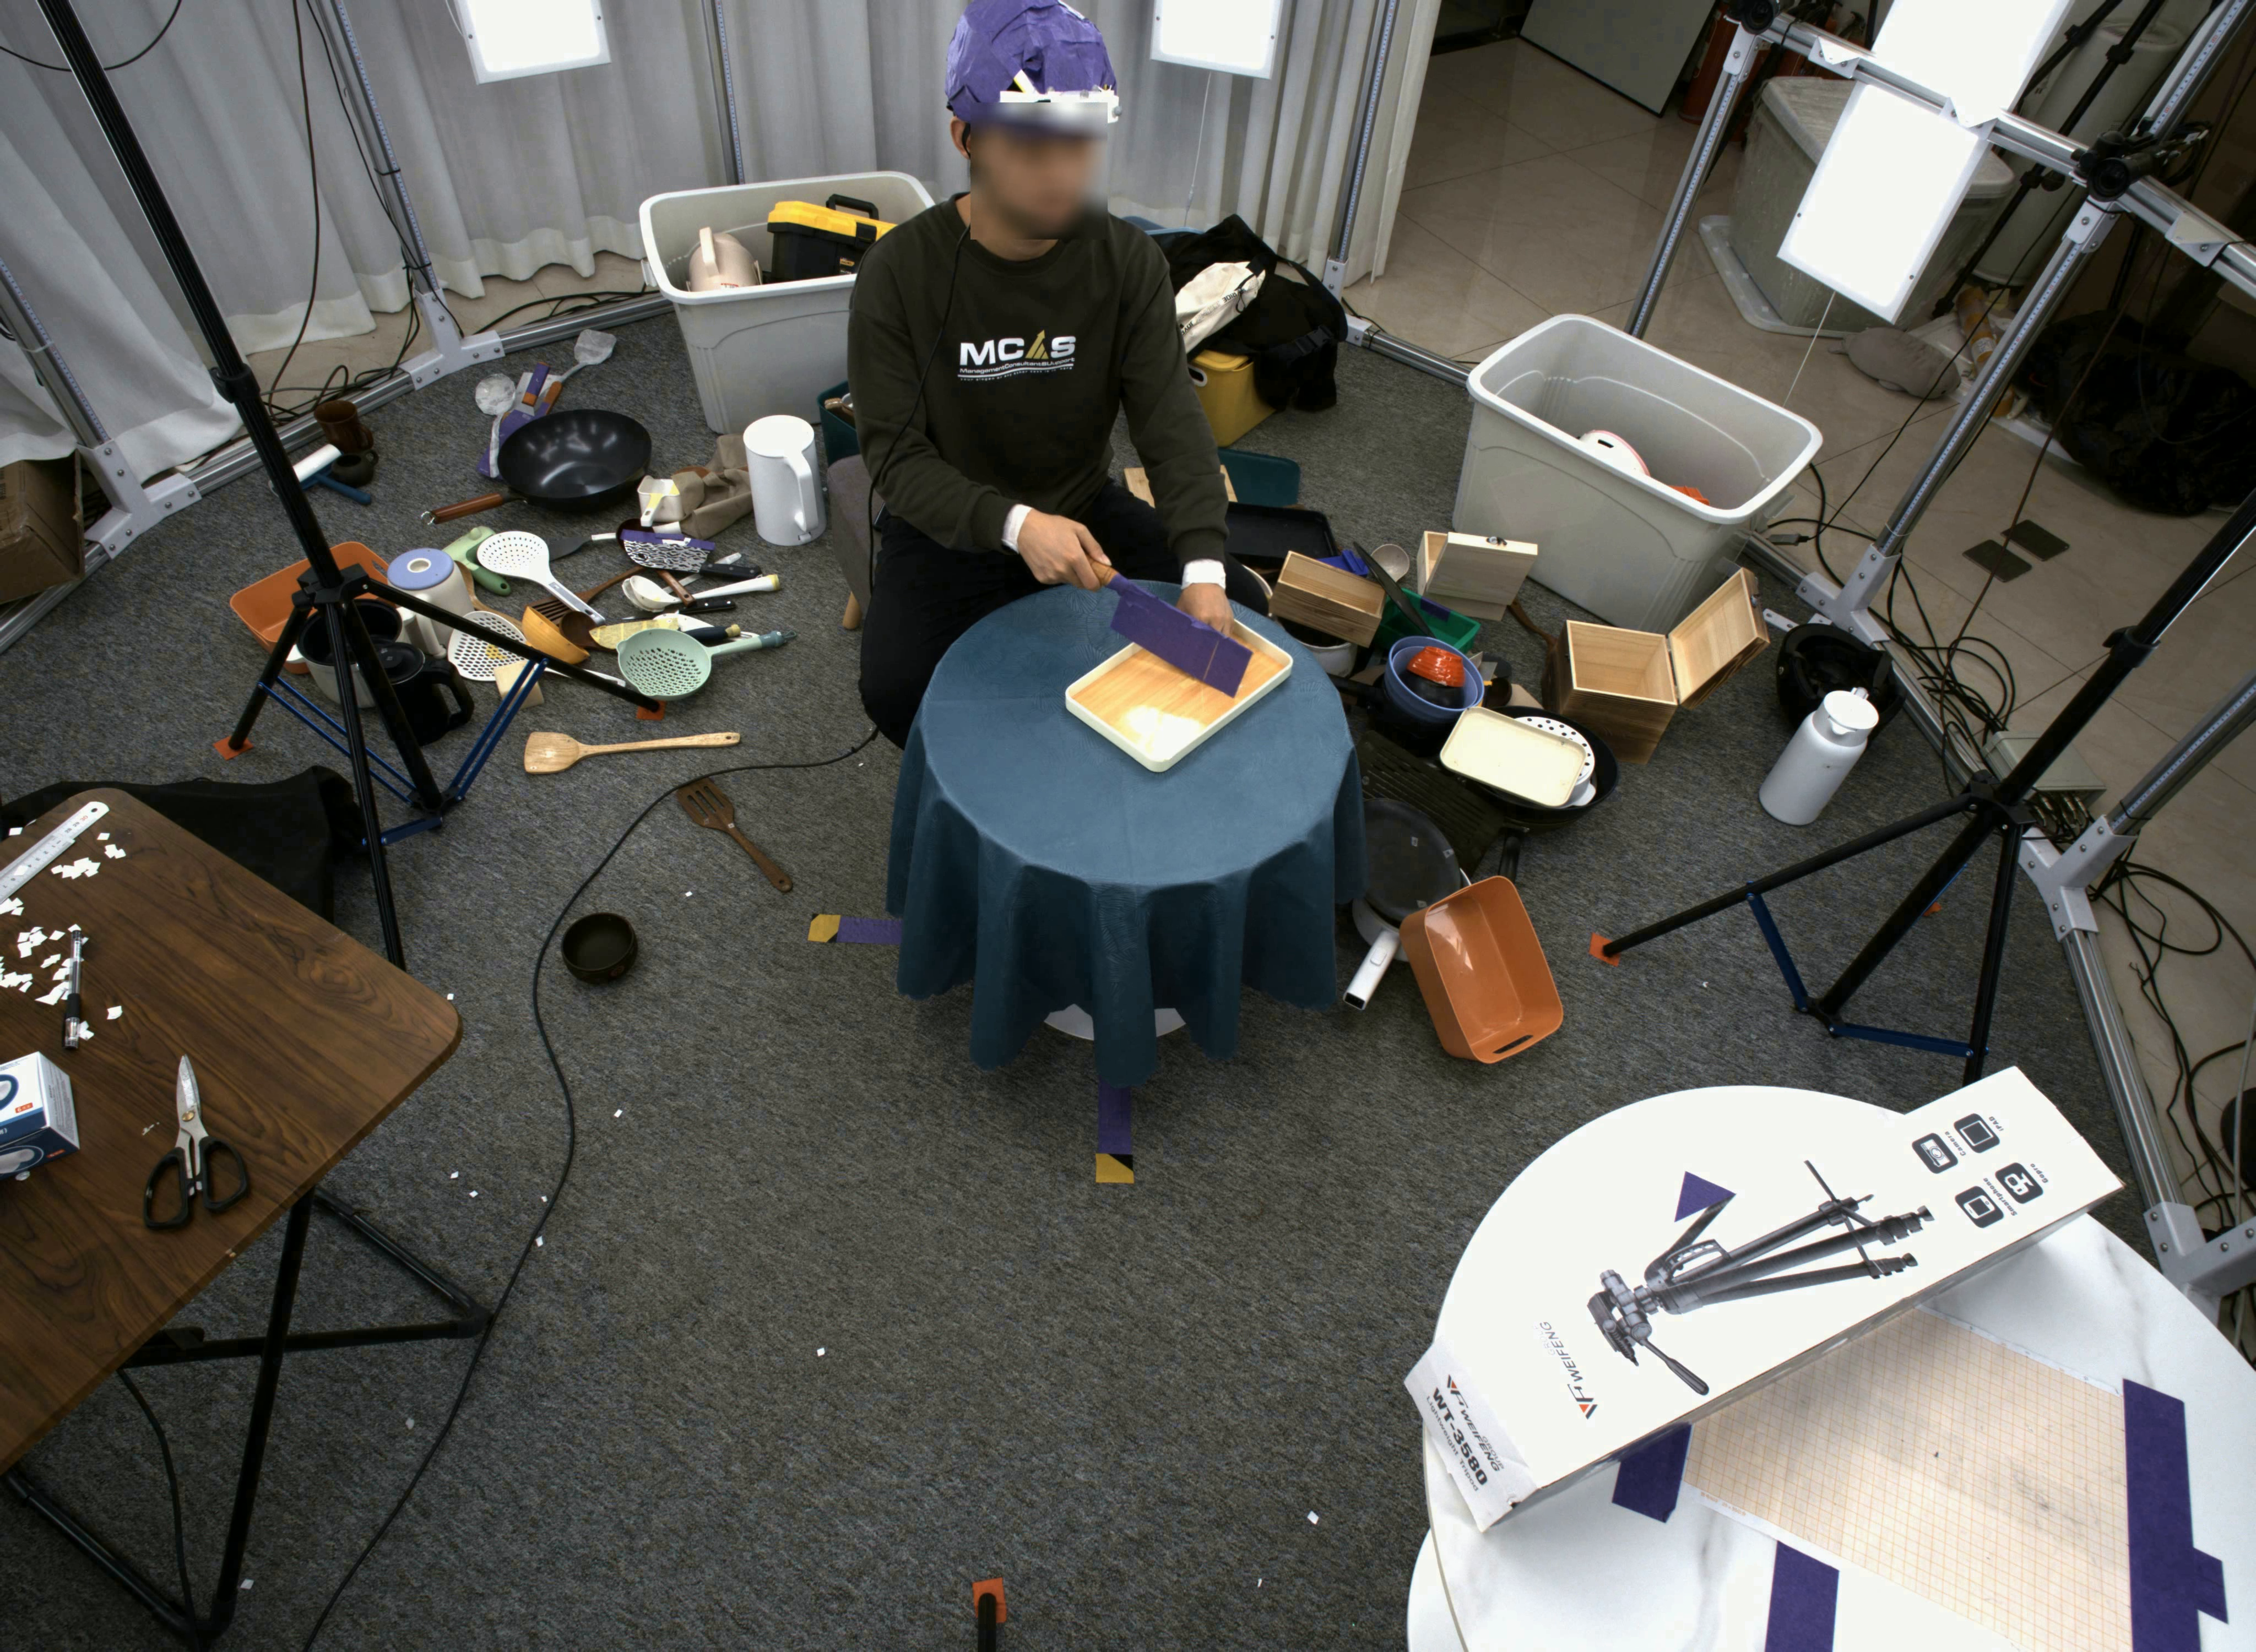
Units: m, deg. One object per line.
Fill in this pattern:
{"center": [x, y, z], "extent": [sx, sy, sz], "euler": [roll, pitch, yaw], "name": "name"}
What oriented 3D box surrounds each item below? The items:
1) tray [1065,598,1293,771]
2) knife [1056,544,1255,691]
{"center": [0.075, -0.208, 1.834], "extent": [0.194, 0.027, 0.303], "euler": [37, 57, 24], "name": "tray"}
{"center": [0.028, -0.290, 1.820], "extent": [0.317, 0.101, 0.032], "euler": [31, 44, 11], "name": "knife"}
